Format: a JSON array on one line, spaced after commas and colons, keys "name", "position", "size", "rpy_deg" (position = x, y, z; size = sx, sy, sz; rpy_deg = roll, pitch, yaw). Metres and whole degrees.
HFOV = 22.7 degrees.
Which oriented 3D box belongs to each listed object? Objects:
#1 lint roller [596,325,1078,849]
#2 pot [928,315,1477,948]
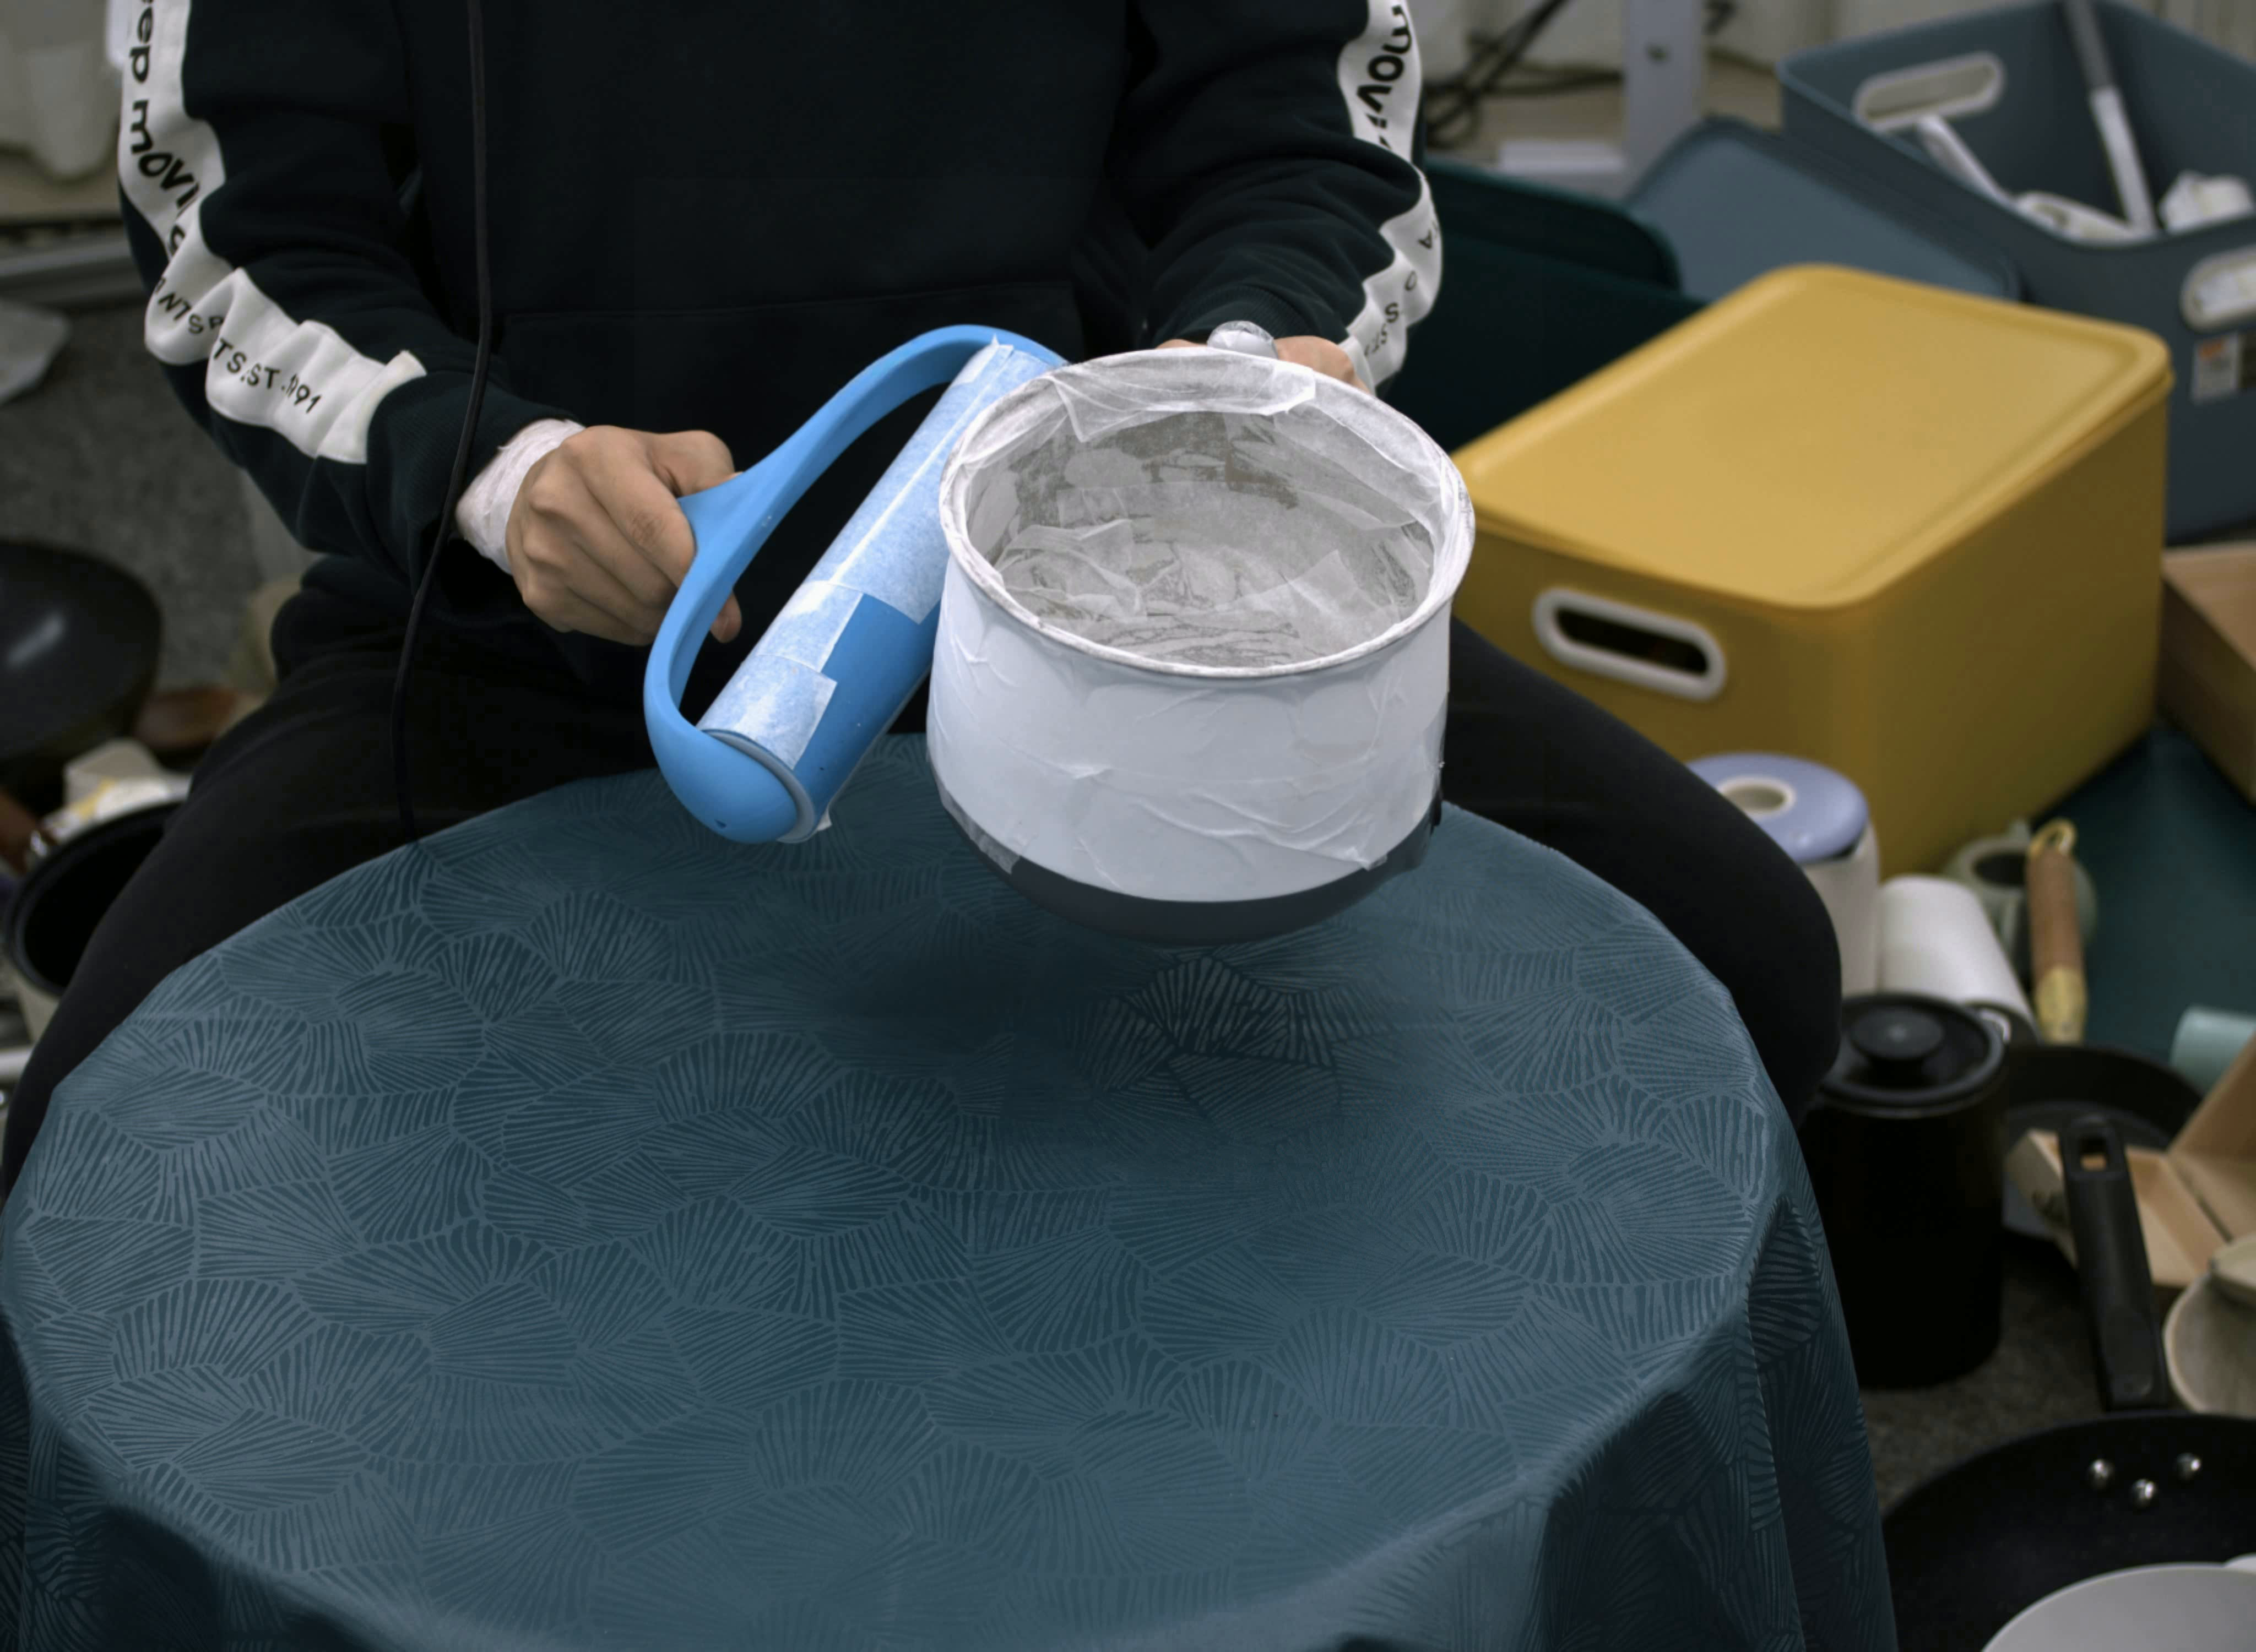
[{"name": "lint roller", "position": [-0.125, -0.087, 1.960], "size": [0.179, 0.067, 0.233], "rpy_deg": [5, 49, 33]}, {"name": "pot", "position": [0.025, -0.075, 1.902], "size": [0.178, 0.134, 0.238], "rpy_deg": [7, 40, 2]}]
